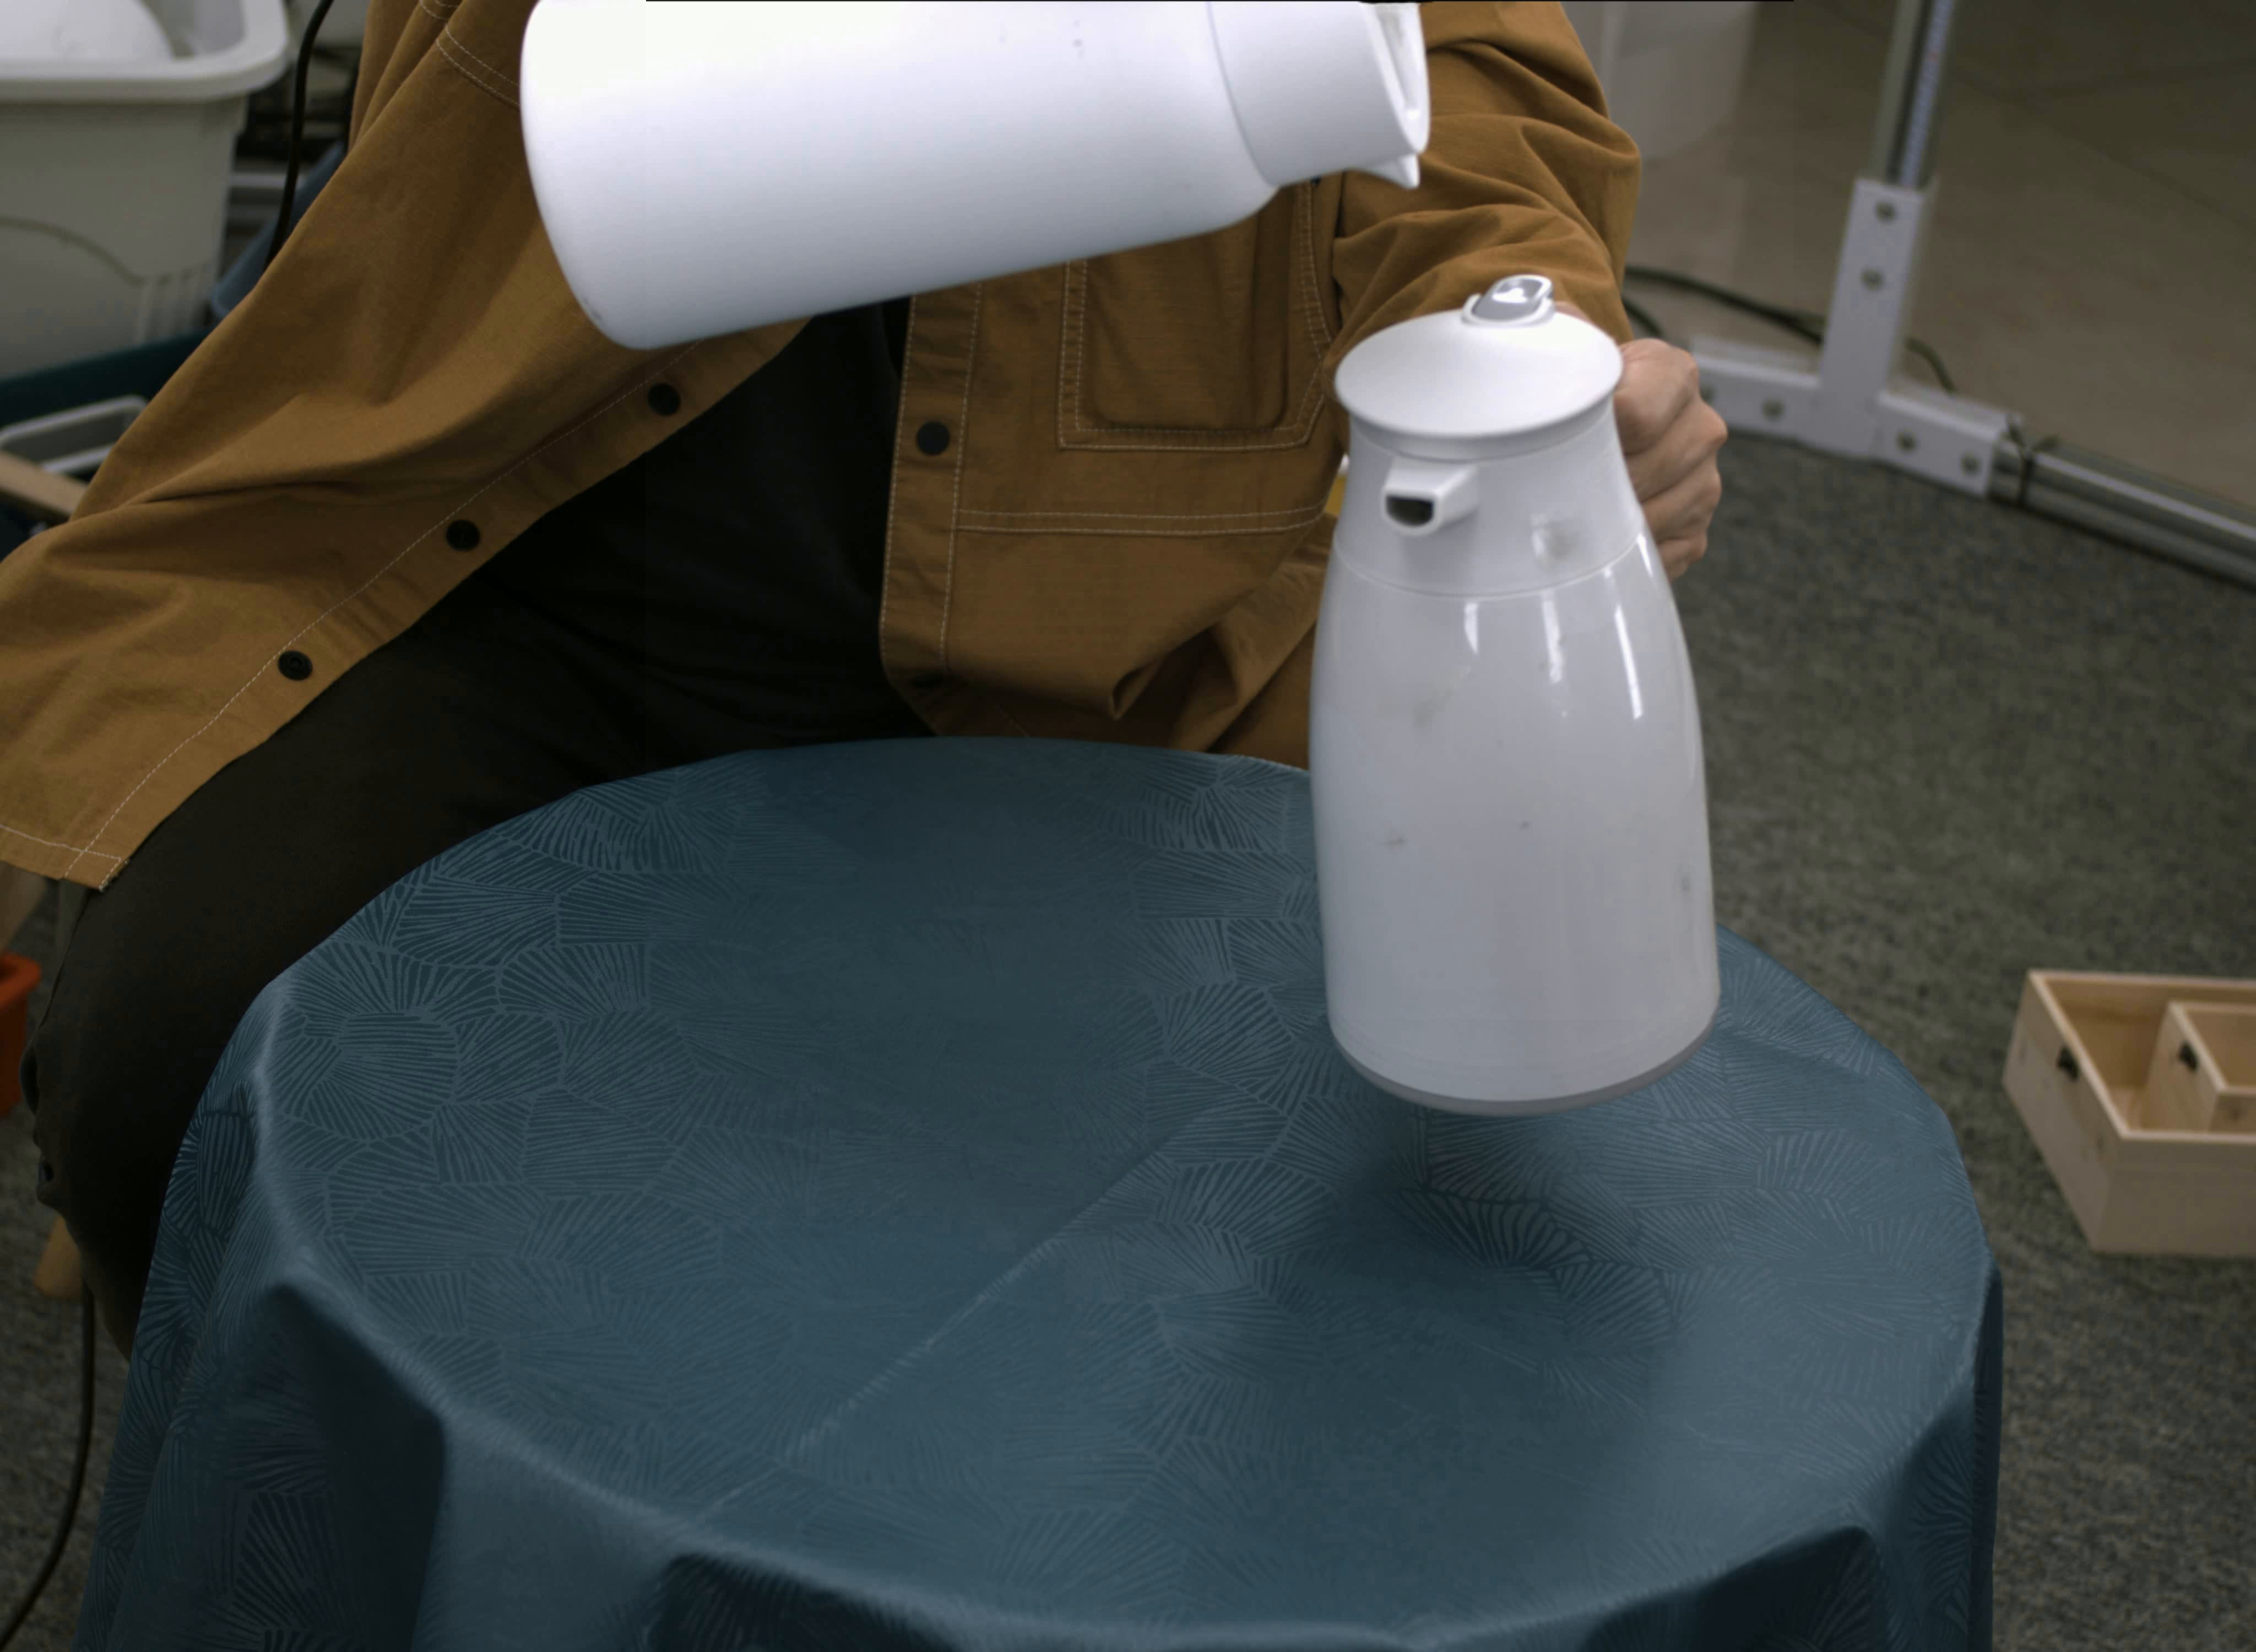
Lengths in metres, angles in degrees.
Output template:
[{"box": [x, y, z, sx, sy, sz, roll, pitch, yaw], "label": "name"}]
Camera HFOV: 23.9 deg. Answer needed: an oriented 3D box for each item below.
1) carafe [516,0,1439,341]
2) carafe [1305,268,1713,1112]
[{"box": [-0.053, -0.243, 1.634, 0.269, 0.171, 0.124, -9, 39, 16], "label": "carafe"}, {"box": [0.127, -0.055, 1.748, 0.133, 0.247, 0.168, 7, 31, 23], "label": "carafe"}]
